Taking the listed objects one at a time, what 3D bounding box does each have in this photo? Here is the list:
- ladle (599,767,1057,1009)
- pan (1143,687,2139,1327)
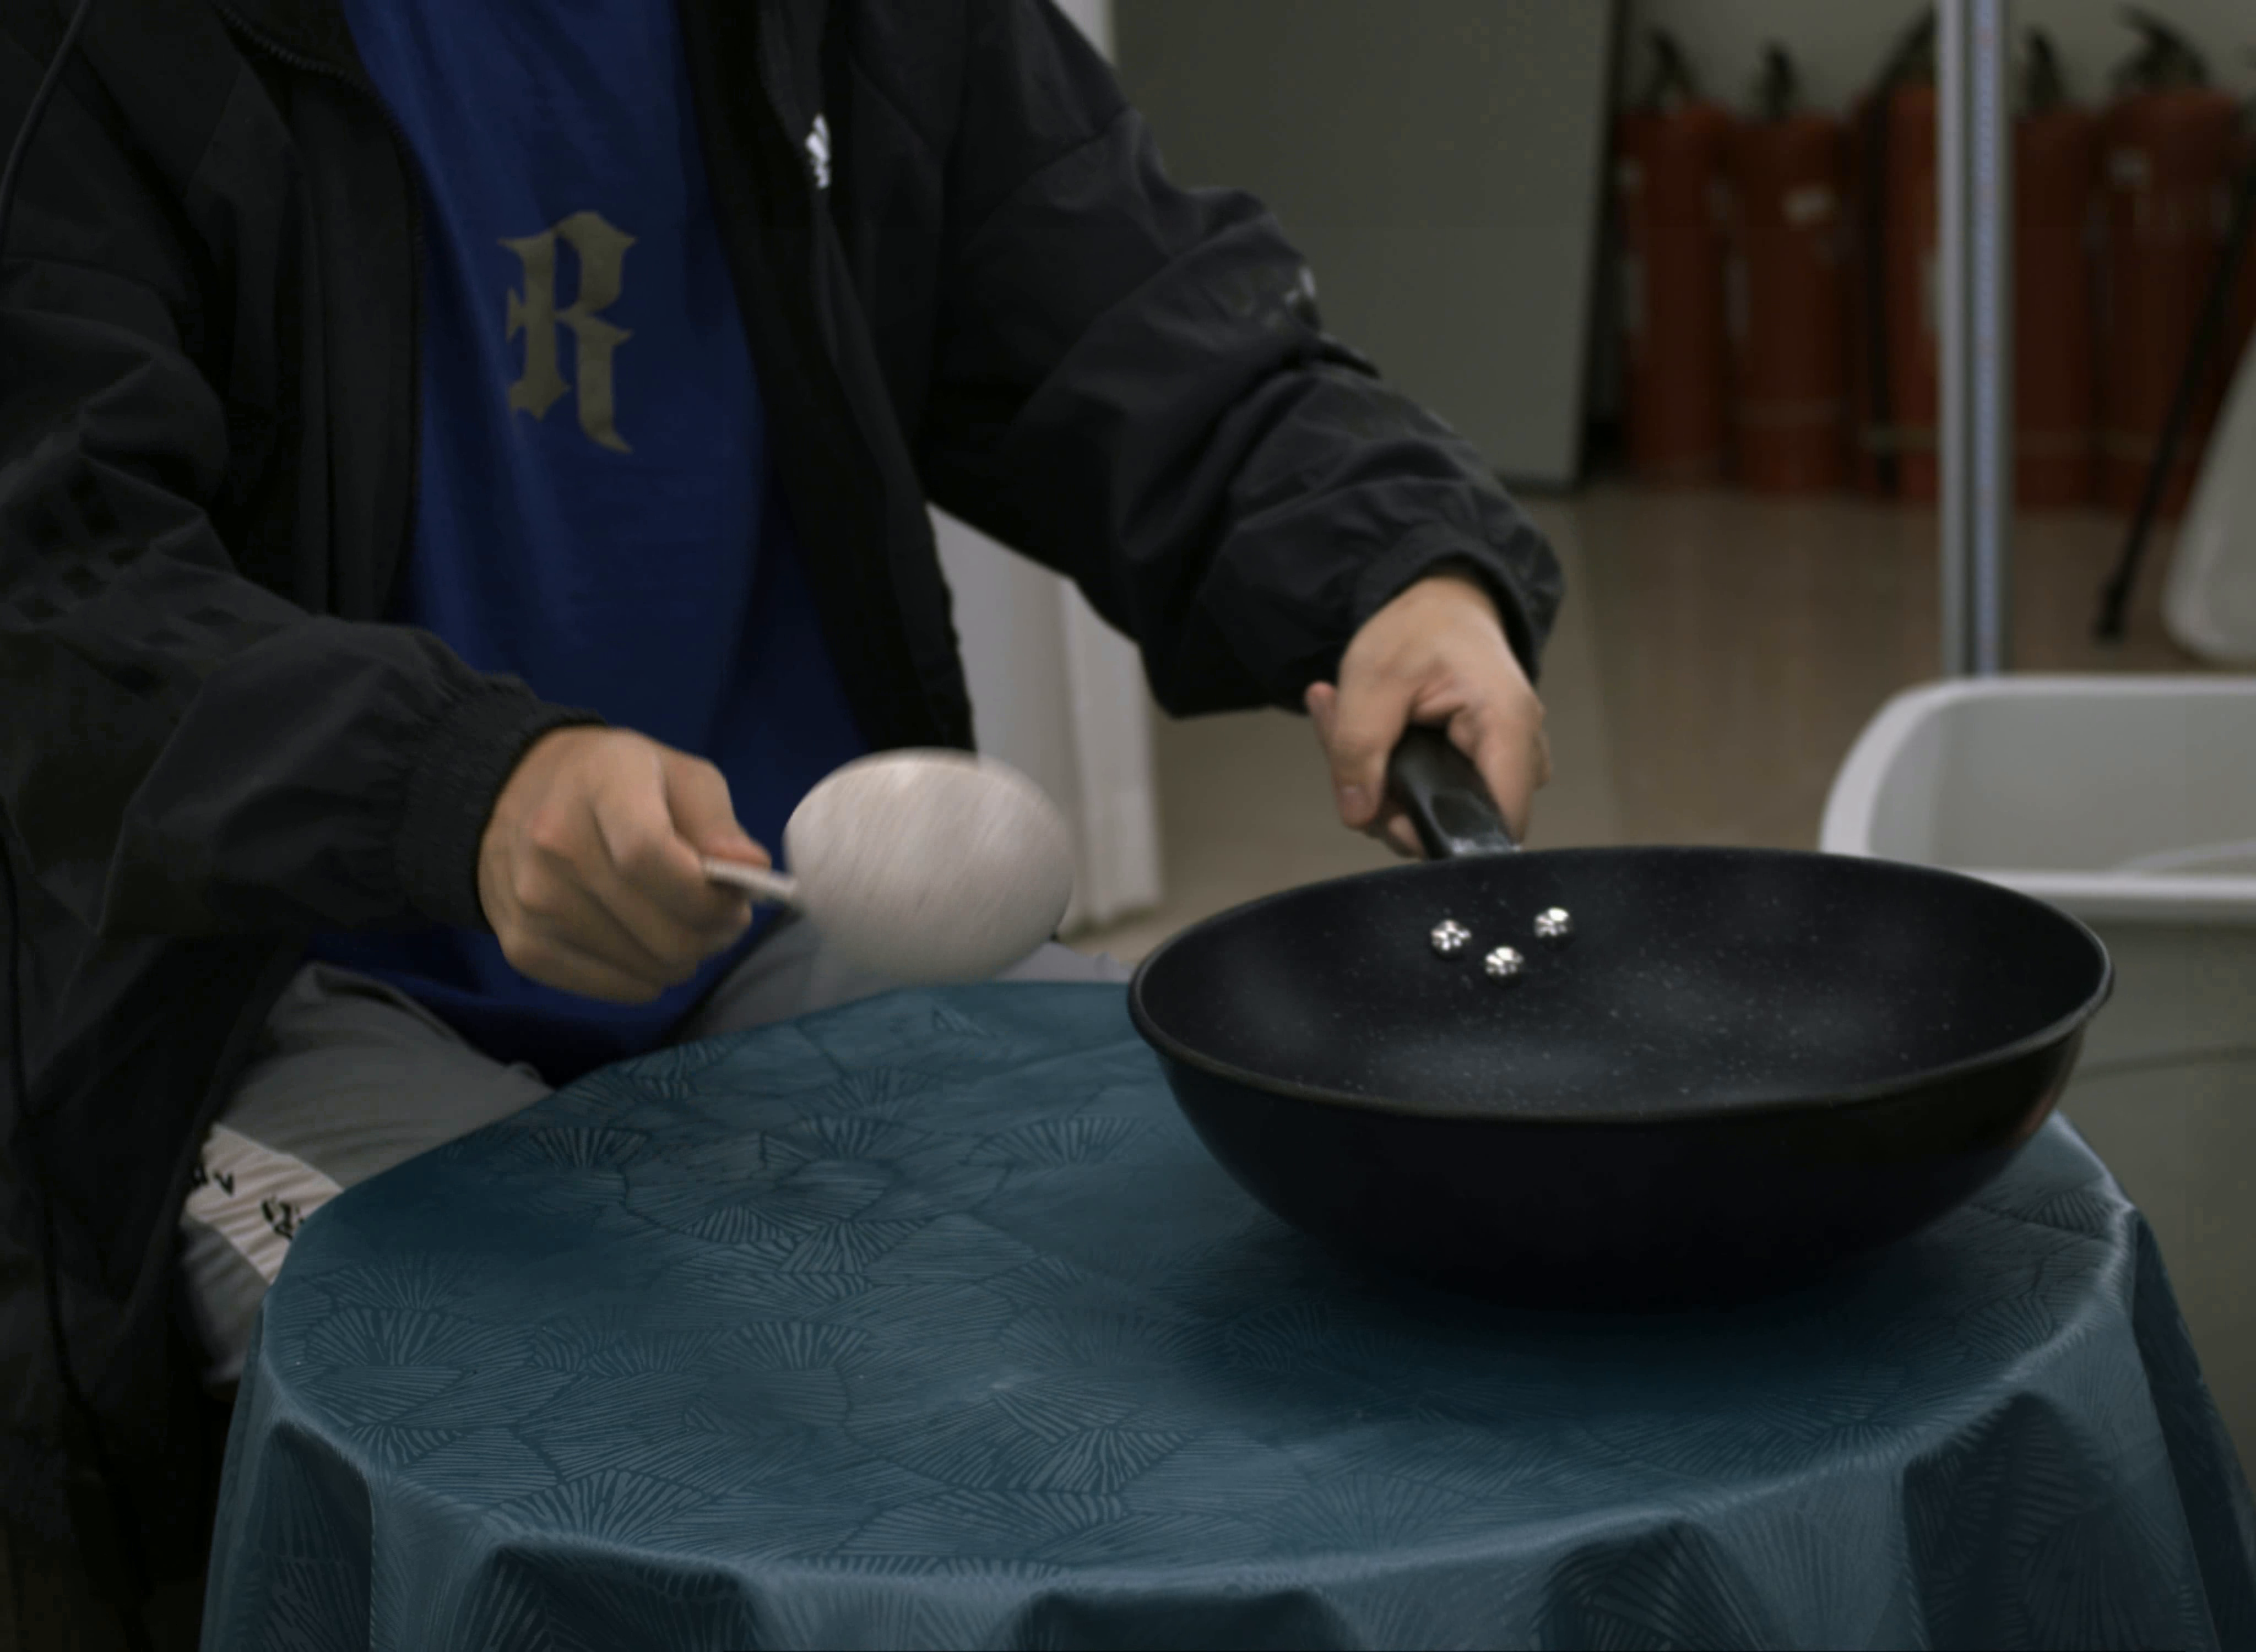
[{"bbox_3d":[-0.105,0.010,1.679,0.088,0.070,0.277,25,-6,-22],"label":"ladle"},{"bbox_3d":[0.142,0.058,1.752,0.305,0.113,0.480,-4,14,-10],"label":"pan"}]
